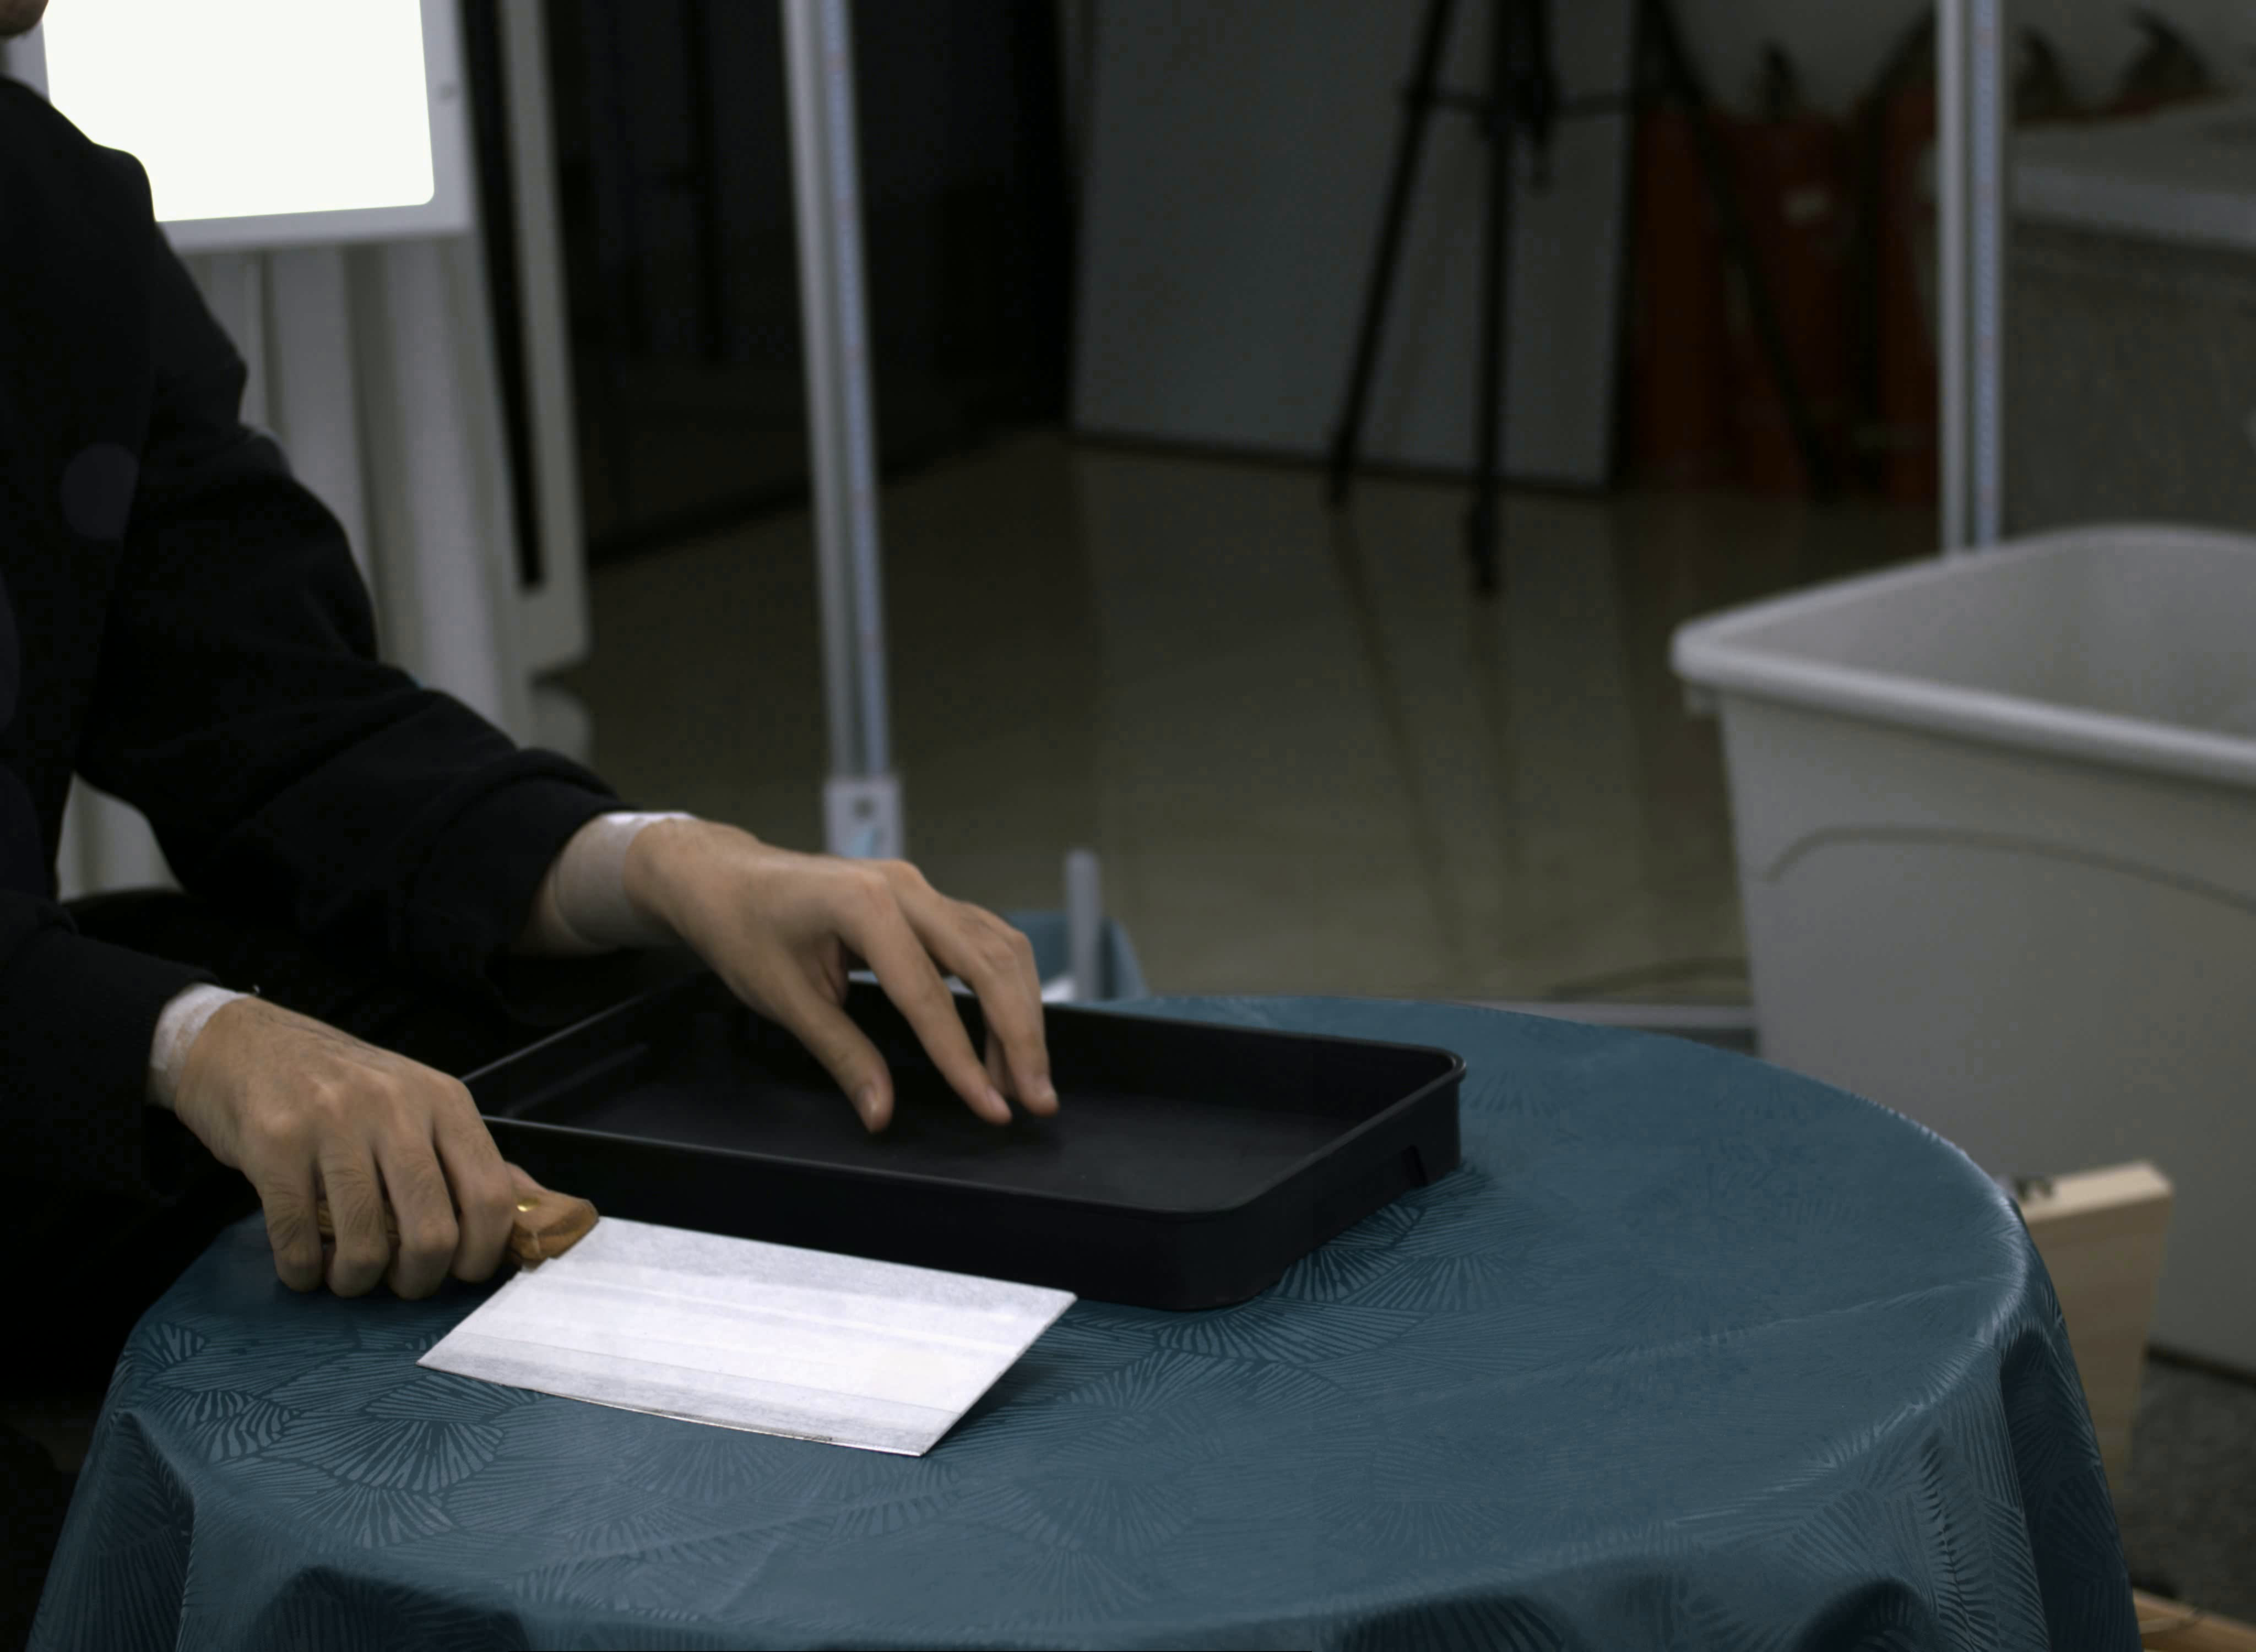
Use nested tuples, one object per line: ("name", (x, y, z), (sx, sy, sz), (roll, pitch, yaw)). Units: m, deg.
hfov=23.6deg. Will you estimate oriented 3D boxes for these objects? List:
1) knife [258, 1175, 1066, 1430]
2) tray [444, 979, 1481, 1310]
("knife", (-0.162, 0.149, 1.662), (0.307, 0.021, 0.092), (5, 30, 34))
("tray", (-0.054, 0.102, 1.789), (0.319, 0.037, 0.181), (4, 16, 30))
